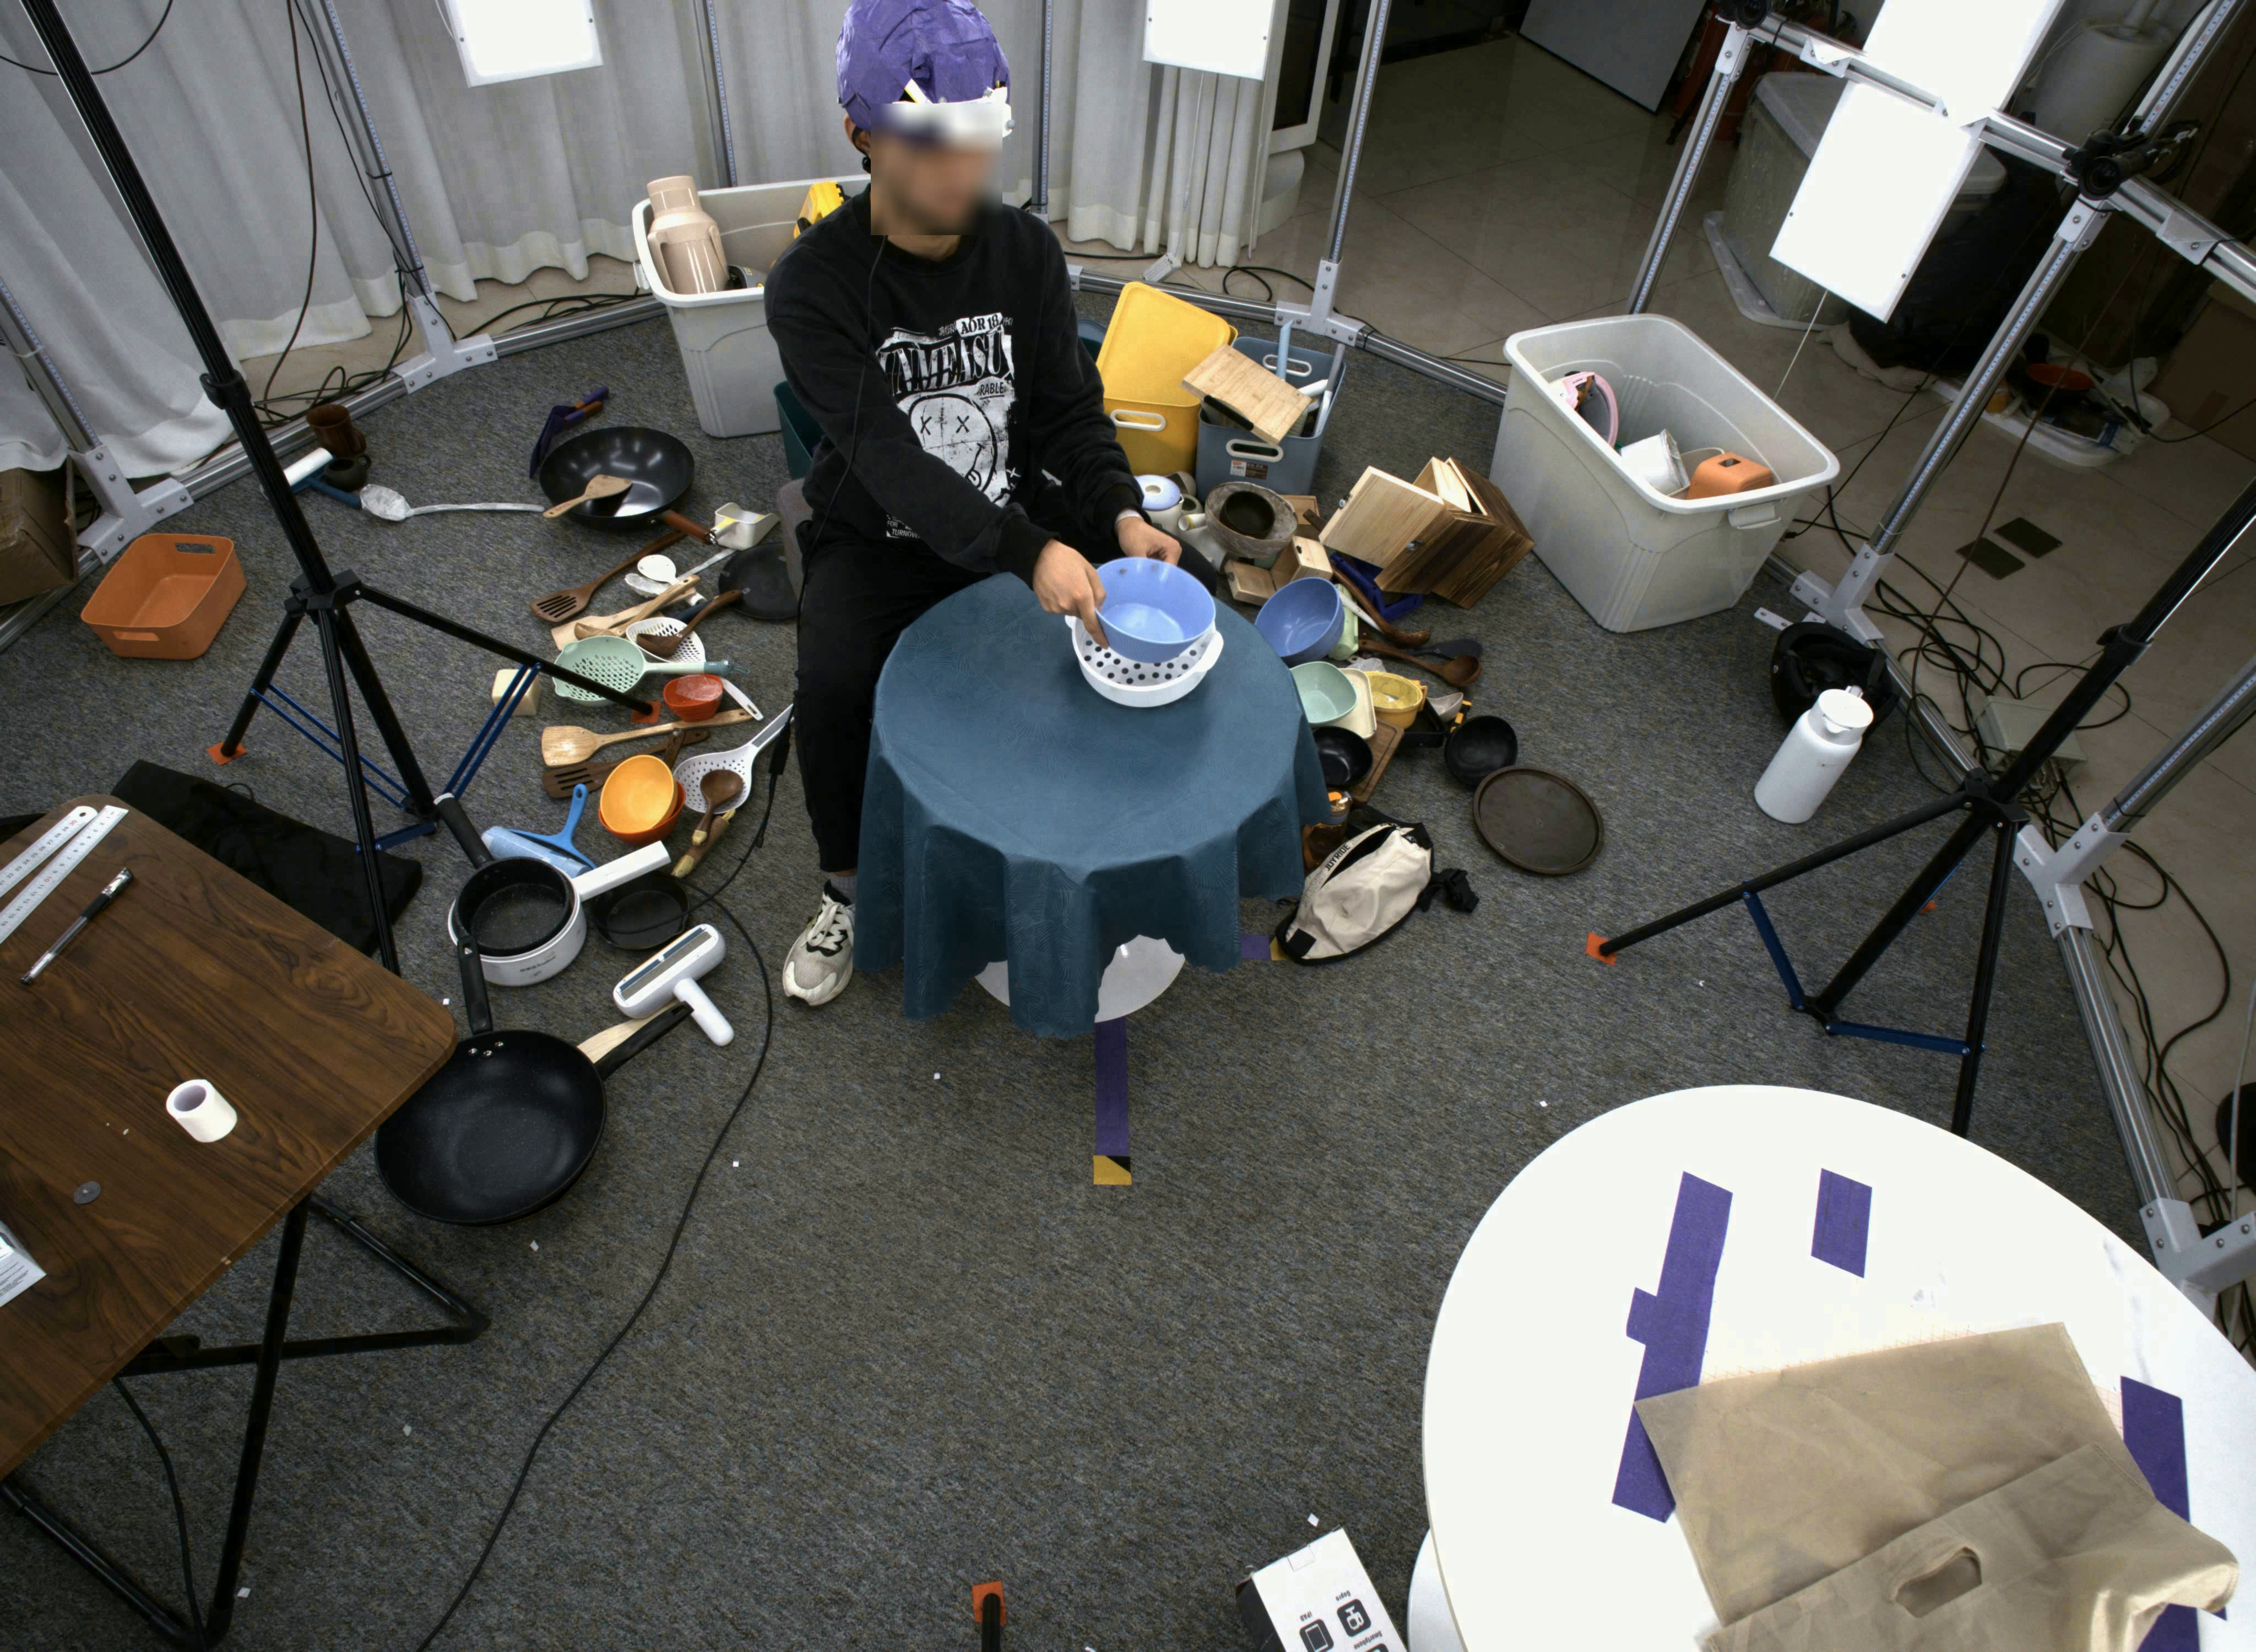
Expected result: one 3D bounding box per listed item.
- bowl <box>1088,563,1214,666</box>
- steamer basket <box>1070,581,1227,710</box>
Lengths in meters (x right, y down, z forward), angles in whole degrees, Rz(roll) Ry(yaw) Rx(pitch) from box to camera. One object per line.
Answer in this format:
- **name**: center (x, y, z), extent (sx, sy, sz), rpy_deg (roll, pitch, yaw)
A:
- **bowl**: center (0.025, -0.281, 1.761), extent (0.175, 0.069, 0.180), rpy_deg (9, 44, -9)
- **steamer basket**: center (0.029, -0.263, 1.845), extent (0.232, 0.068, 0.205), rpy_deg (21, 66, 13)
